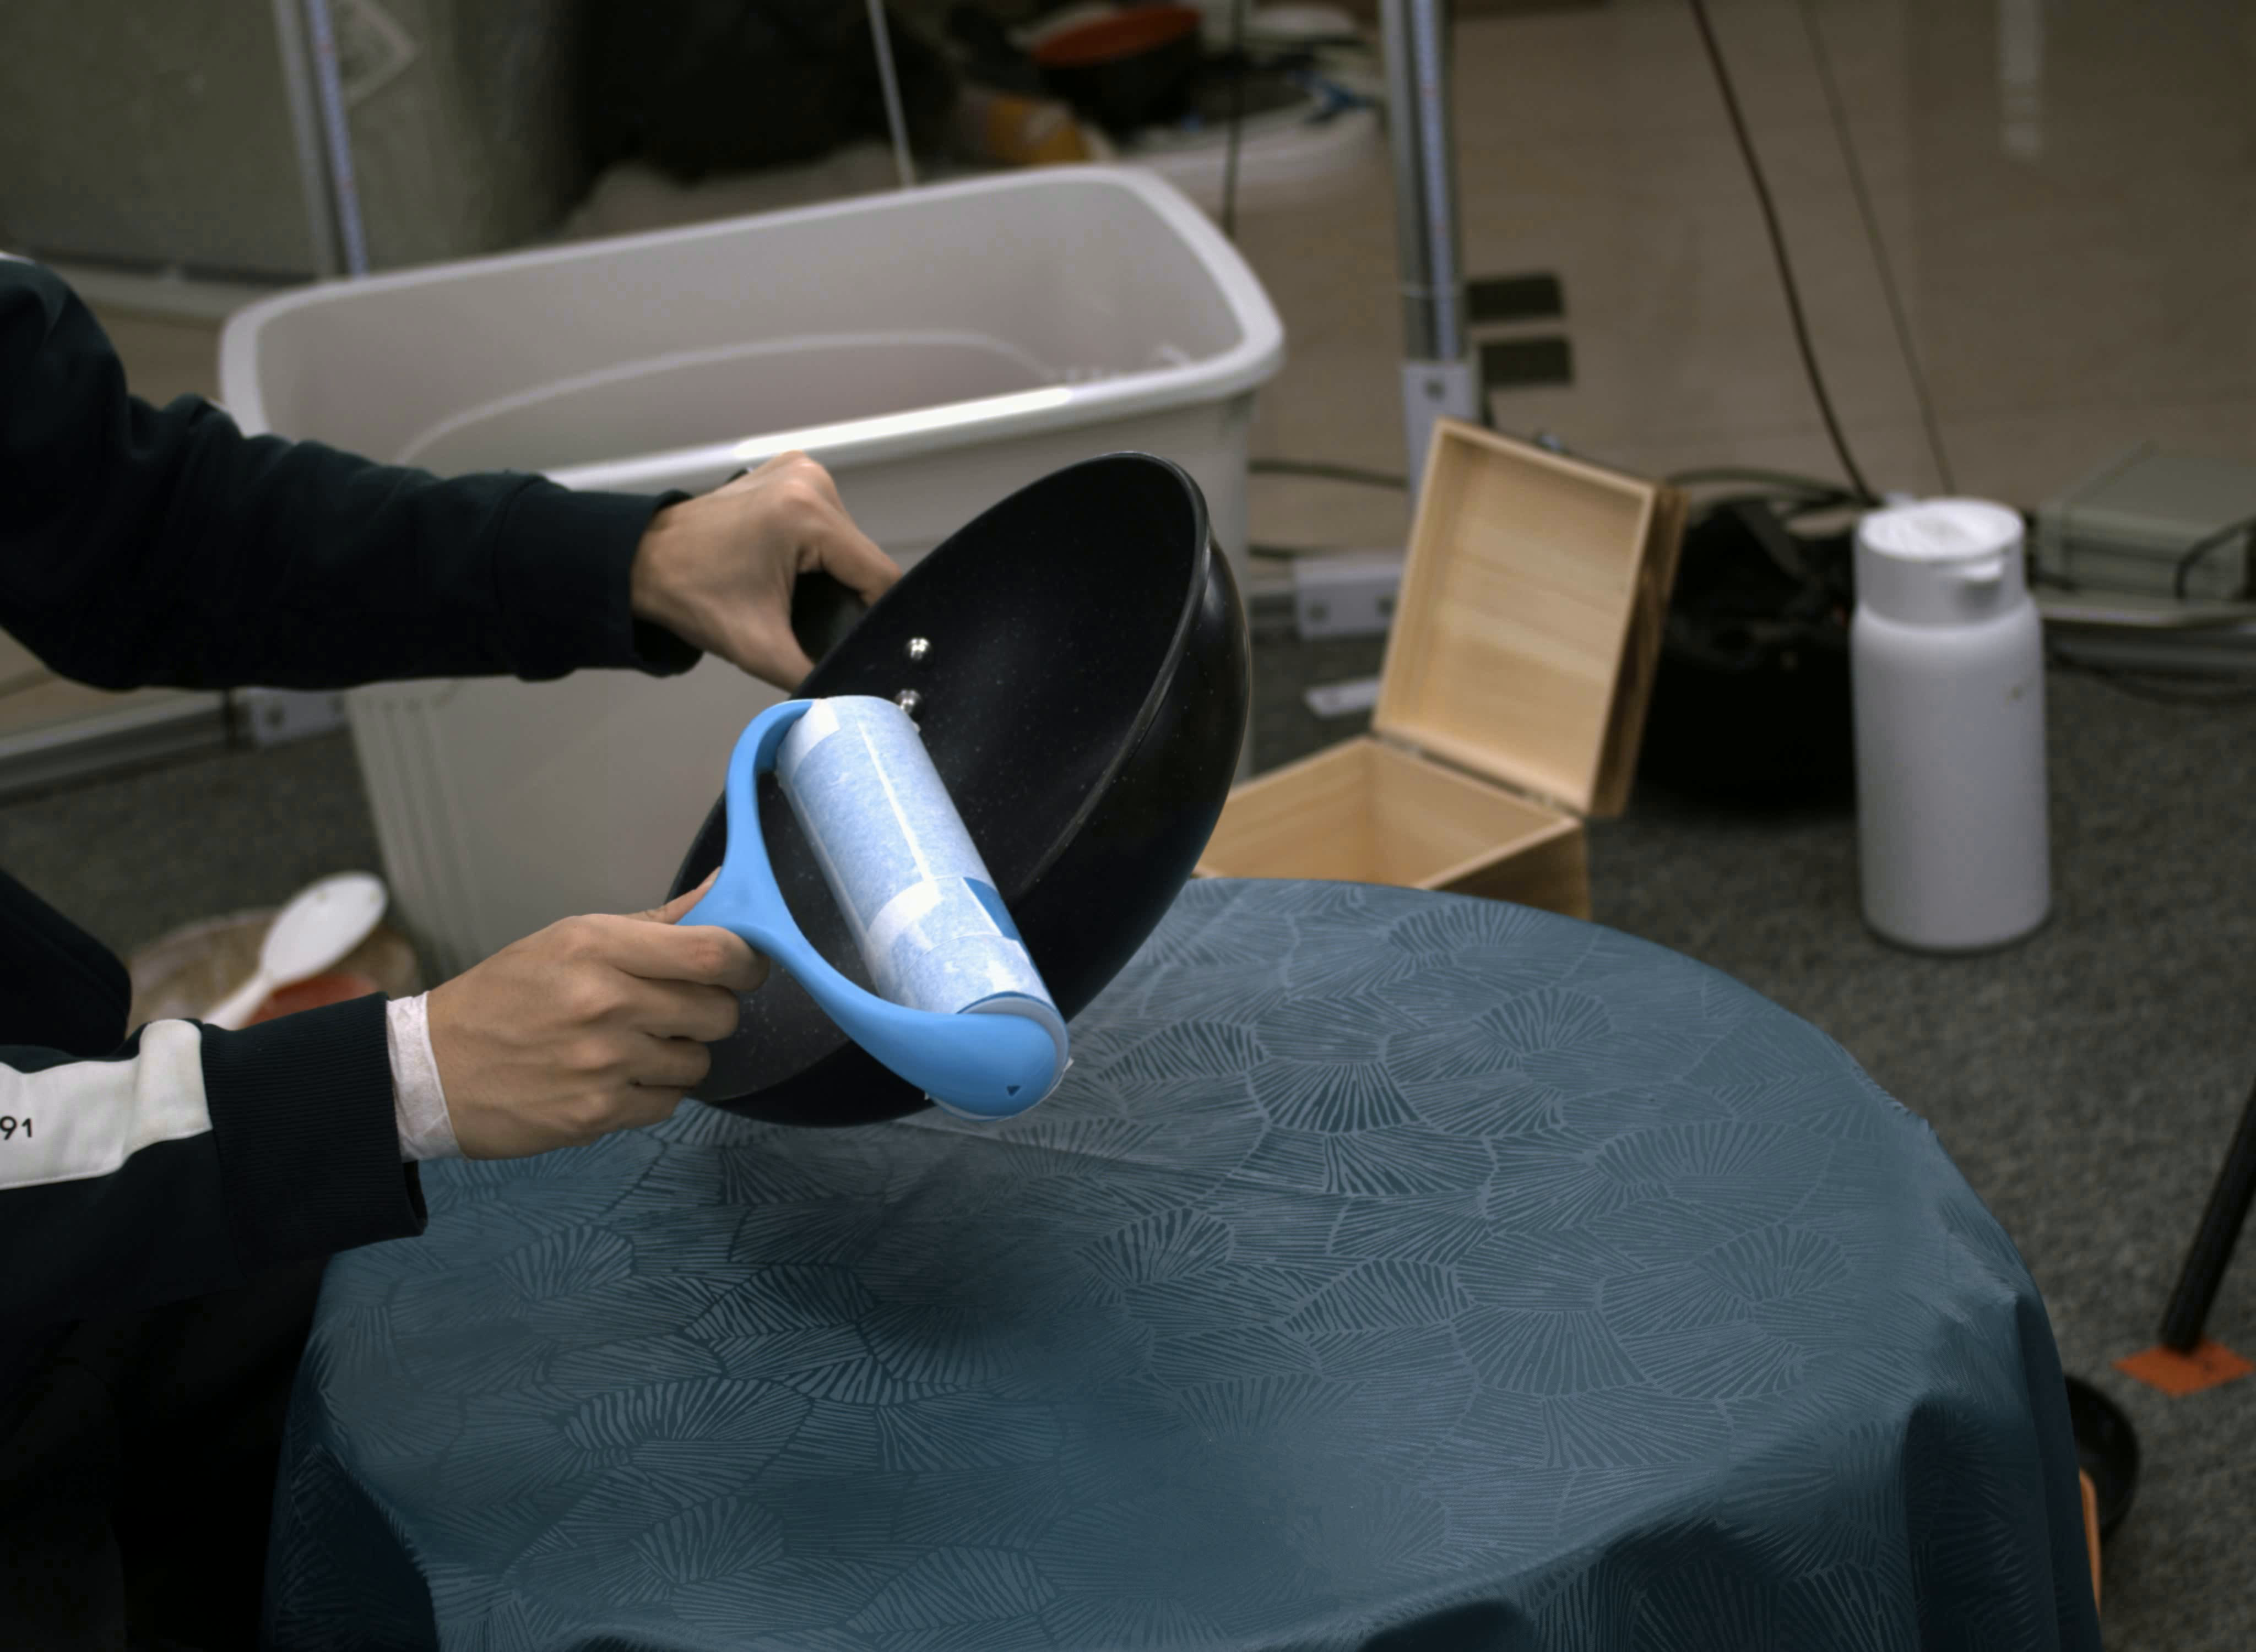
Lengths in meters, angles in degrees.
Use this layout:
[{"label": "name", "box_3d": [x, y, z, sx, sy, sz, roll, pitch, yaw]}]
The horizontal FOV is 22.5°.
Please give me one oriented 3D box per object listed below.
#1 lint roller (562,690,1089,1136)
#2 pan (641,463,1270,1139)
[{"label": "lint roller", "box_3d": [-0.123, 0.048, 1.989, 0.180, 0.069, 0.225, -26, 41, -7]}, {"label": "pan", "box_3d": [-0.077, -0.029, 2.226, 0.311, 0.113, 0.471, -46, 25, 6]}]
